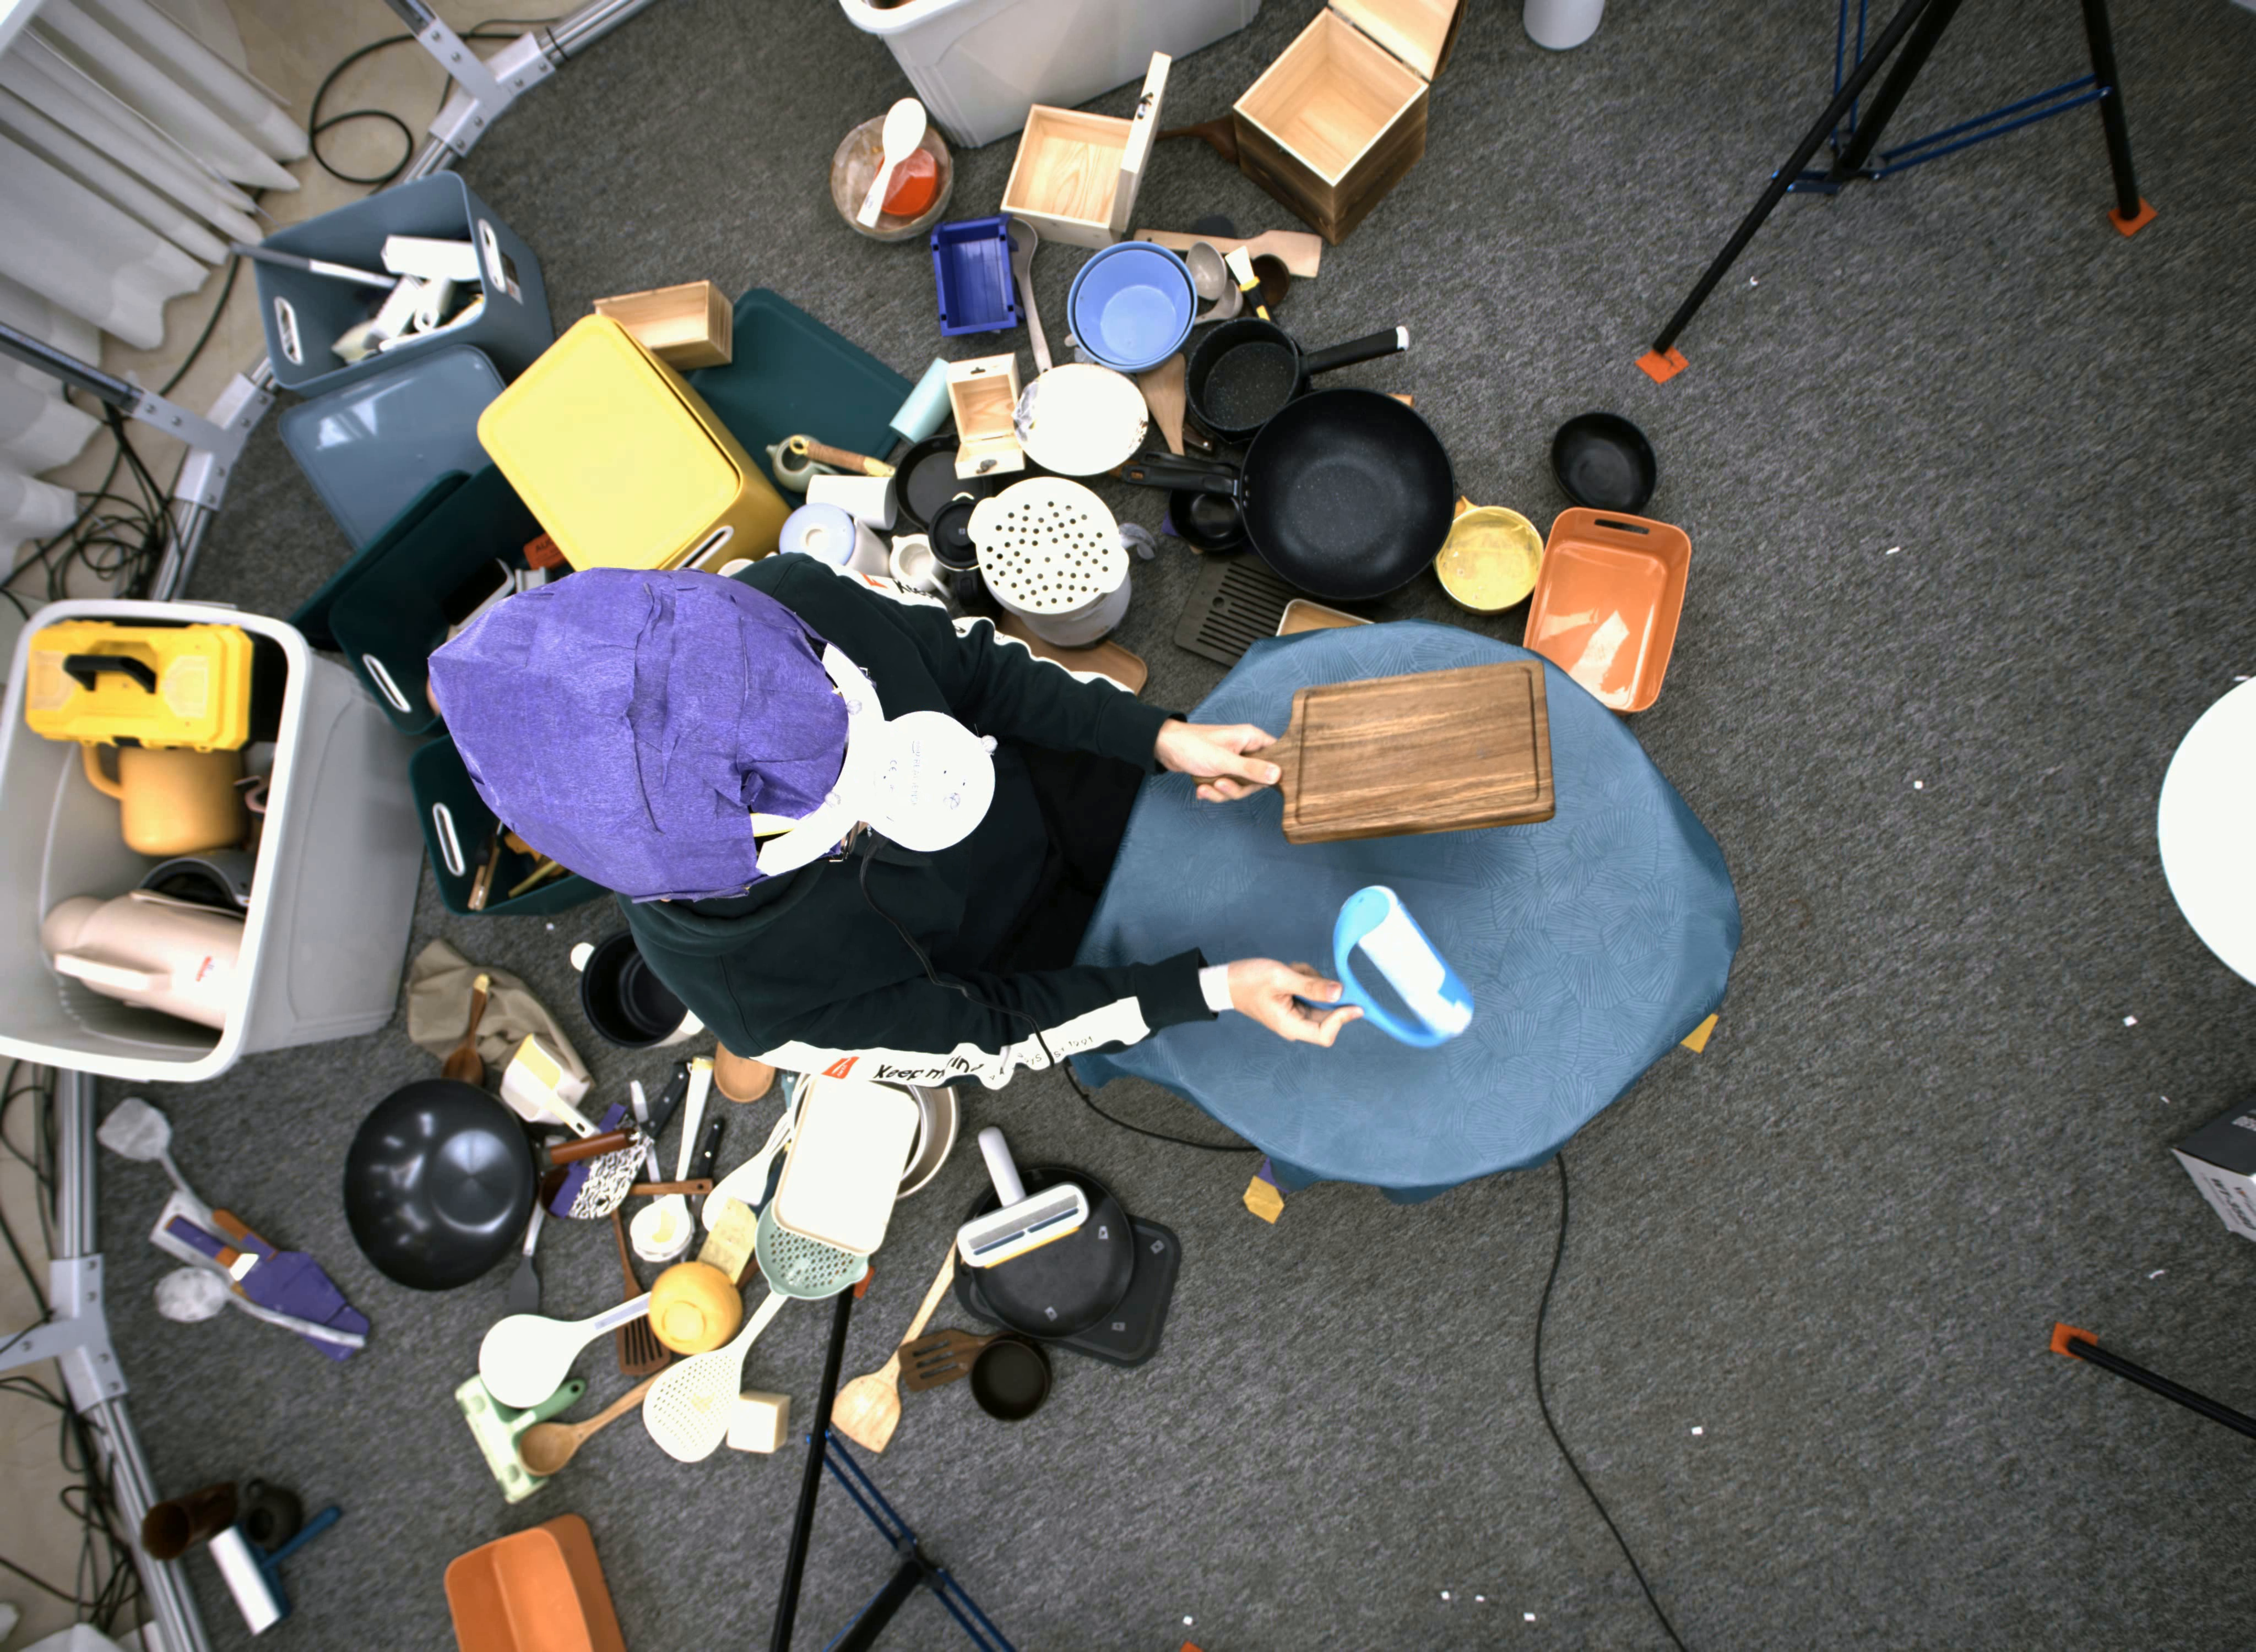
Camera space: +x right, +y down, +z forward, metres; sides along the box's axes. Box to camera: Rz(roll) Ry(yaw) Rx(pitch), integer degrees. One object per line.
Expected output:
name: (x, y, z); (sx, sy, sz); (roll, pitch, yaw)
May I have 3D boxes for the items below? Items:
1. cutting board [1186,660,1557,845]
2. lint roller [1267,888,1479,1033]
cutting board: (0.227, -0.068, 1.329); (0.355, 0.023, 0.195); (-6, 49, 19)
lint roller: (0.214, 0.140, 1.305); (0.183, 0.231, 0.066); (-20, 53, 31)
